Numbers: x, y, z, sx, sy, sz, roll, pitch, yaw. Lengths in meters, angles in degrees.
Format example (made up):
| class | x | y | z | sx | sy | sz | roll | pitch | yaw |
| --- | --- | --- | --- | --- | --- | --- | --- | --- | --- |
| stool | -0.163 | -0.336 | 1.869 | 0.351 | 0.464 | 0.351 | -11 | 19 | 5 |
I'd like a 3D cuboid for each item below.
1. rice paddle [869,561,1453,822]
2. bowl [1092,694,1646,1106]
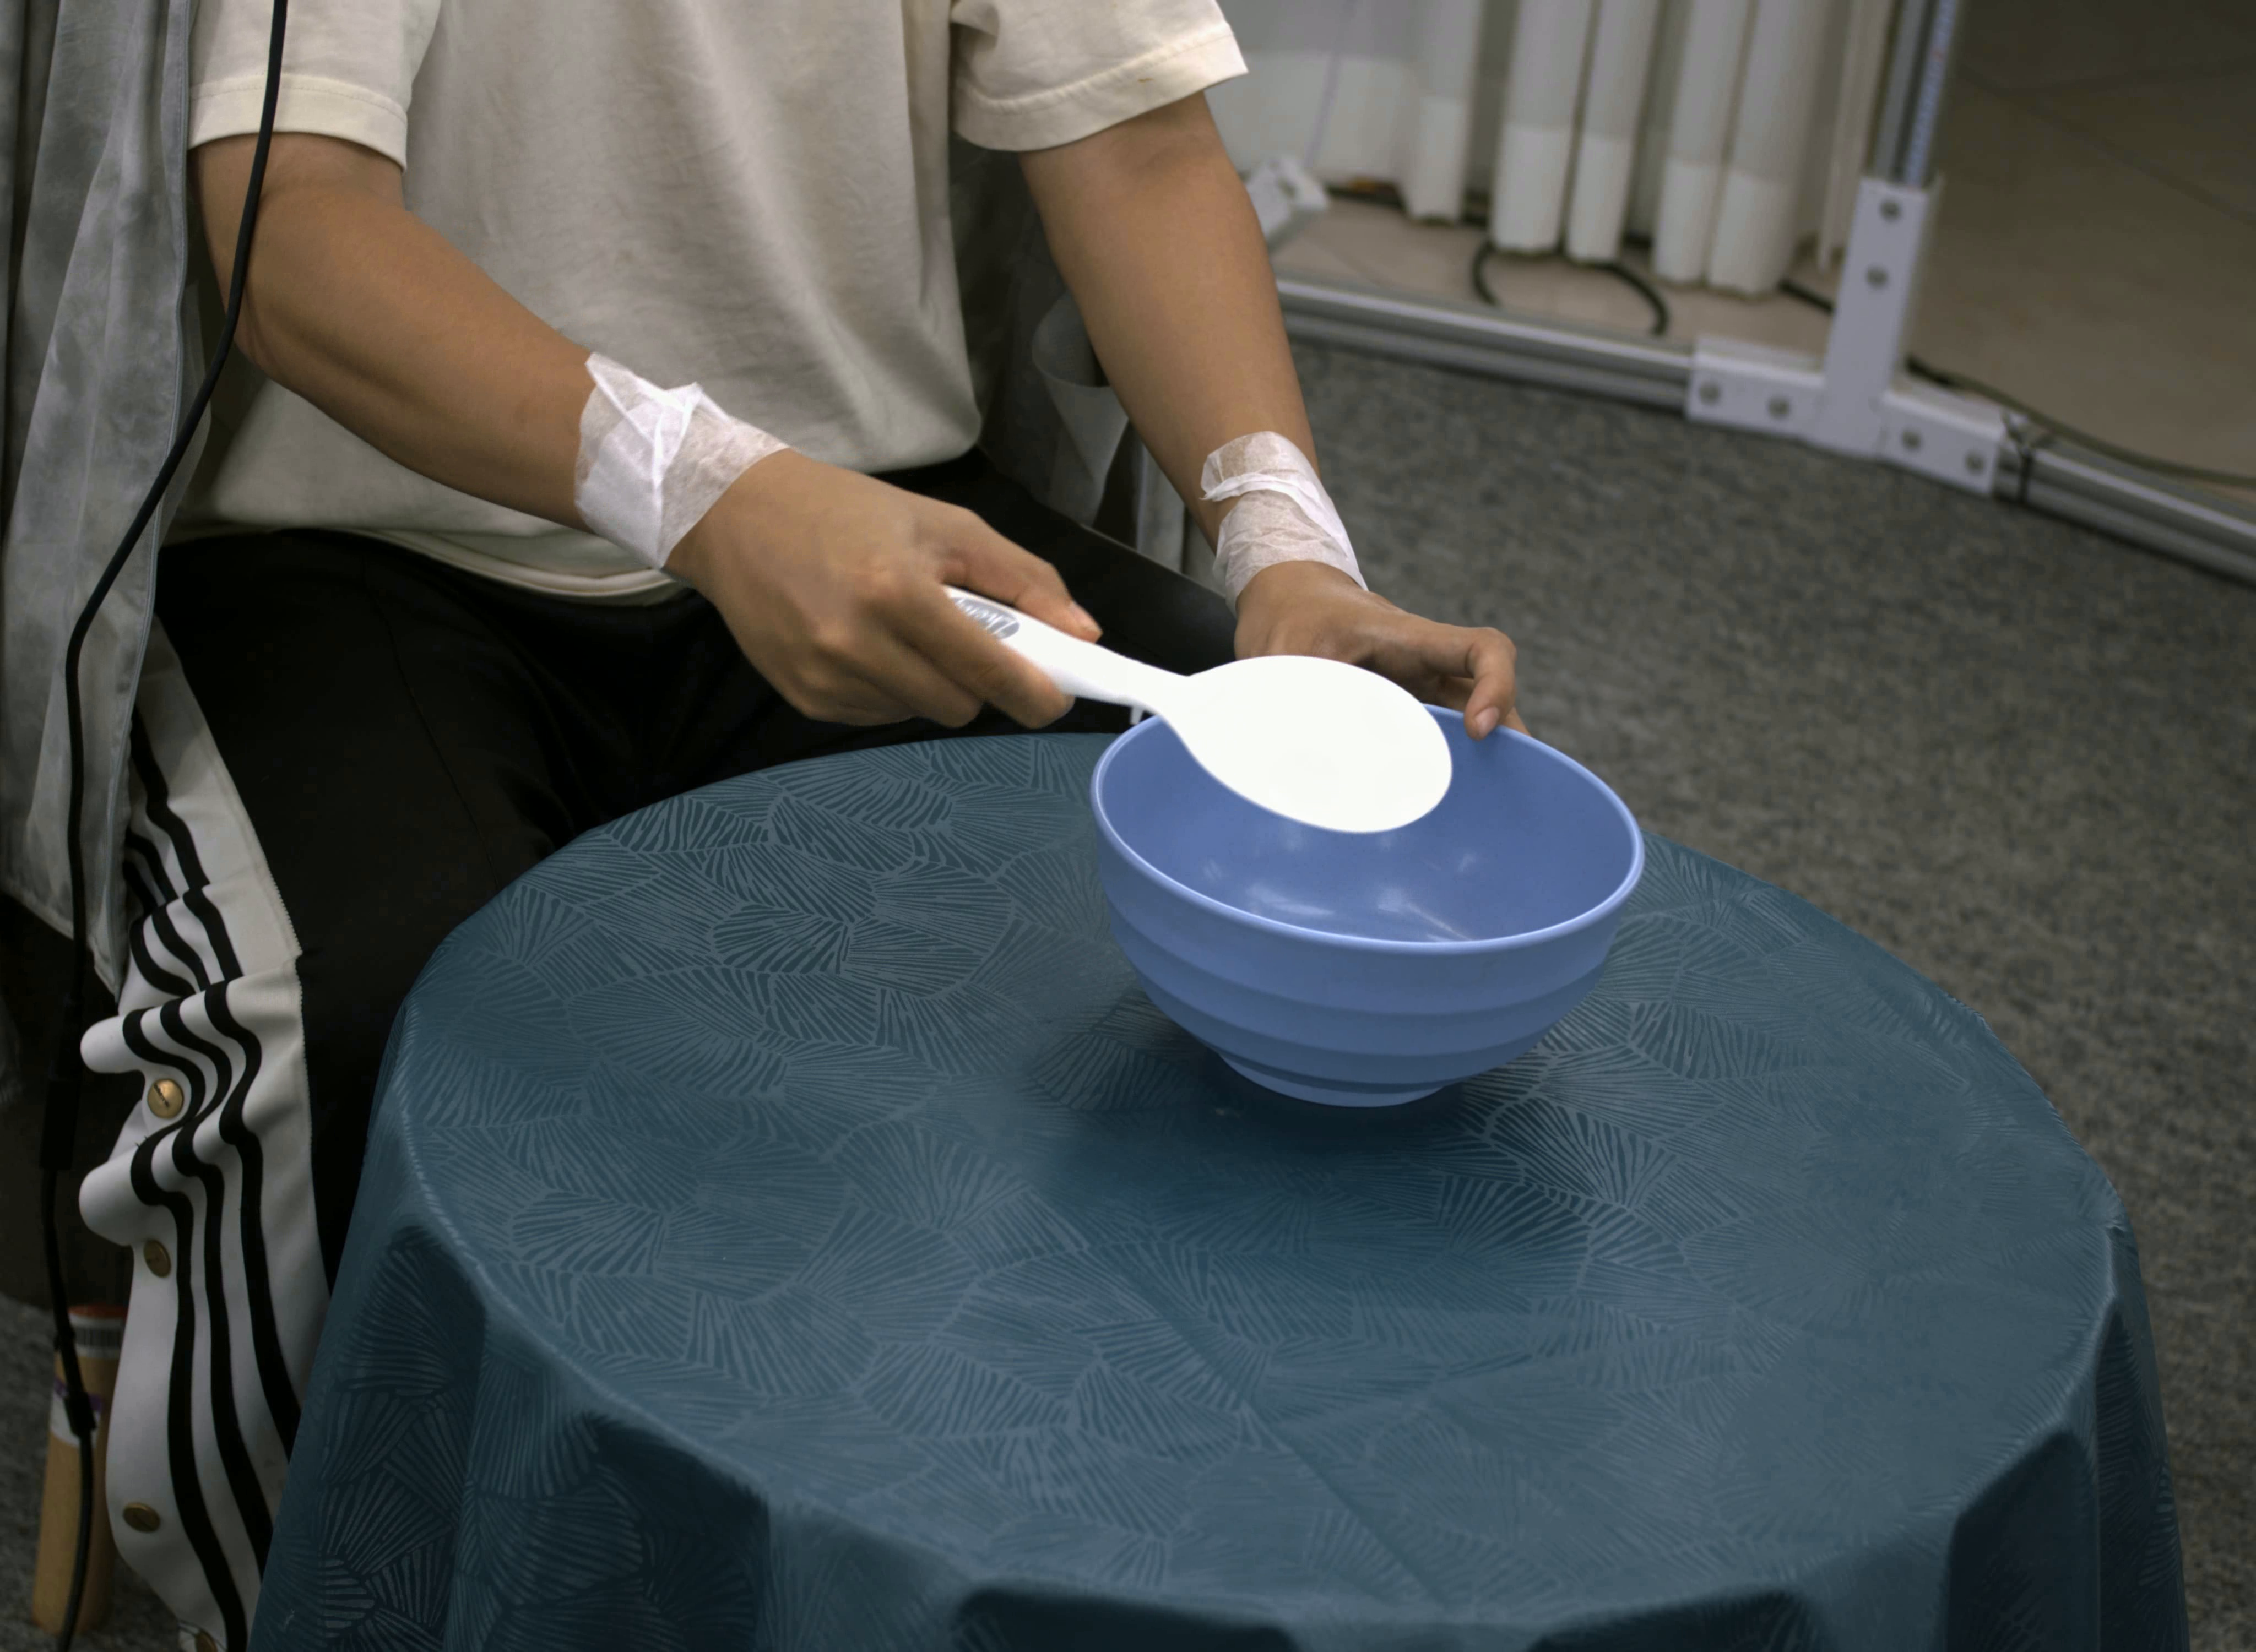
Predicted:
| class | x | y | z | sx | sy | sz | roll | pitch | yaw |
| --- | --- | --- | --- | --- | --- | --- | --- | --- | --- |
| rice paddle | 0.013 | -0.049 | 1.818 | 0.205 | 0.029 | 0.069 | 16 | 55 | 3 |
| bowl | 0.080 | 0.035 | 1.890 | 0.196 | 0.095 | 0.198 | 5 | 28 | -3 |
